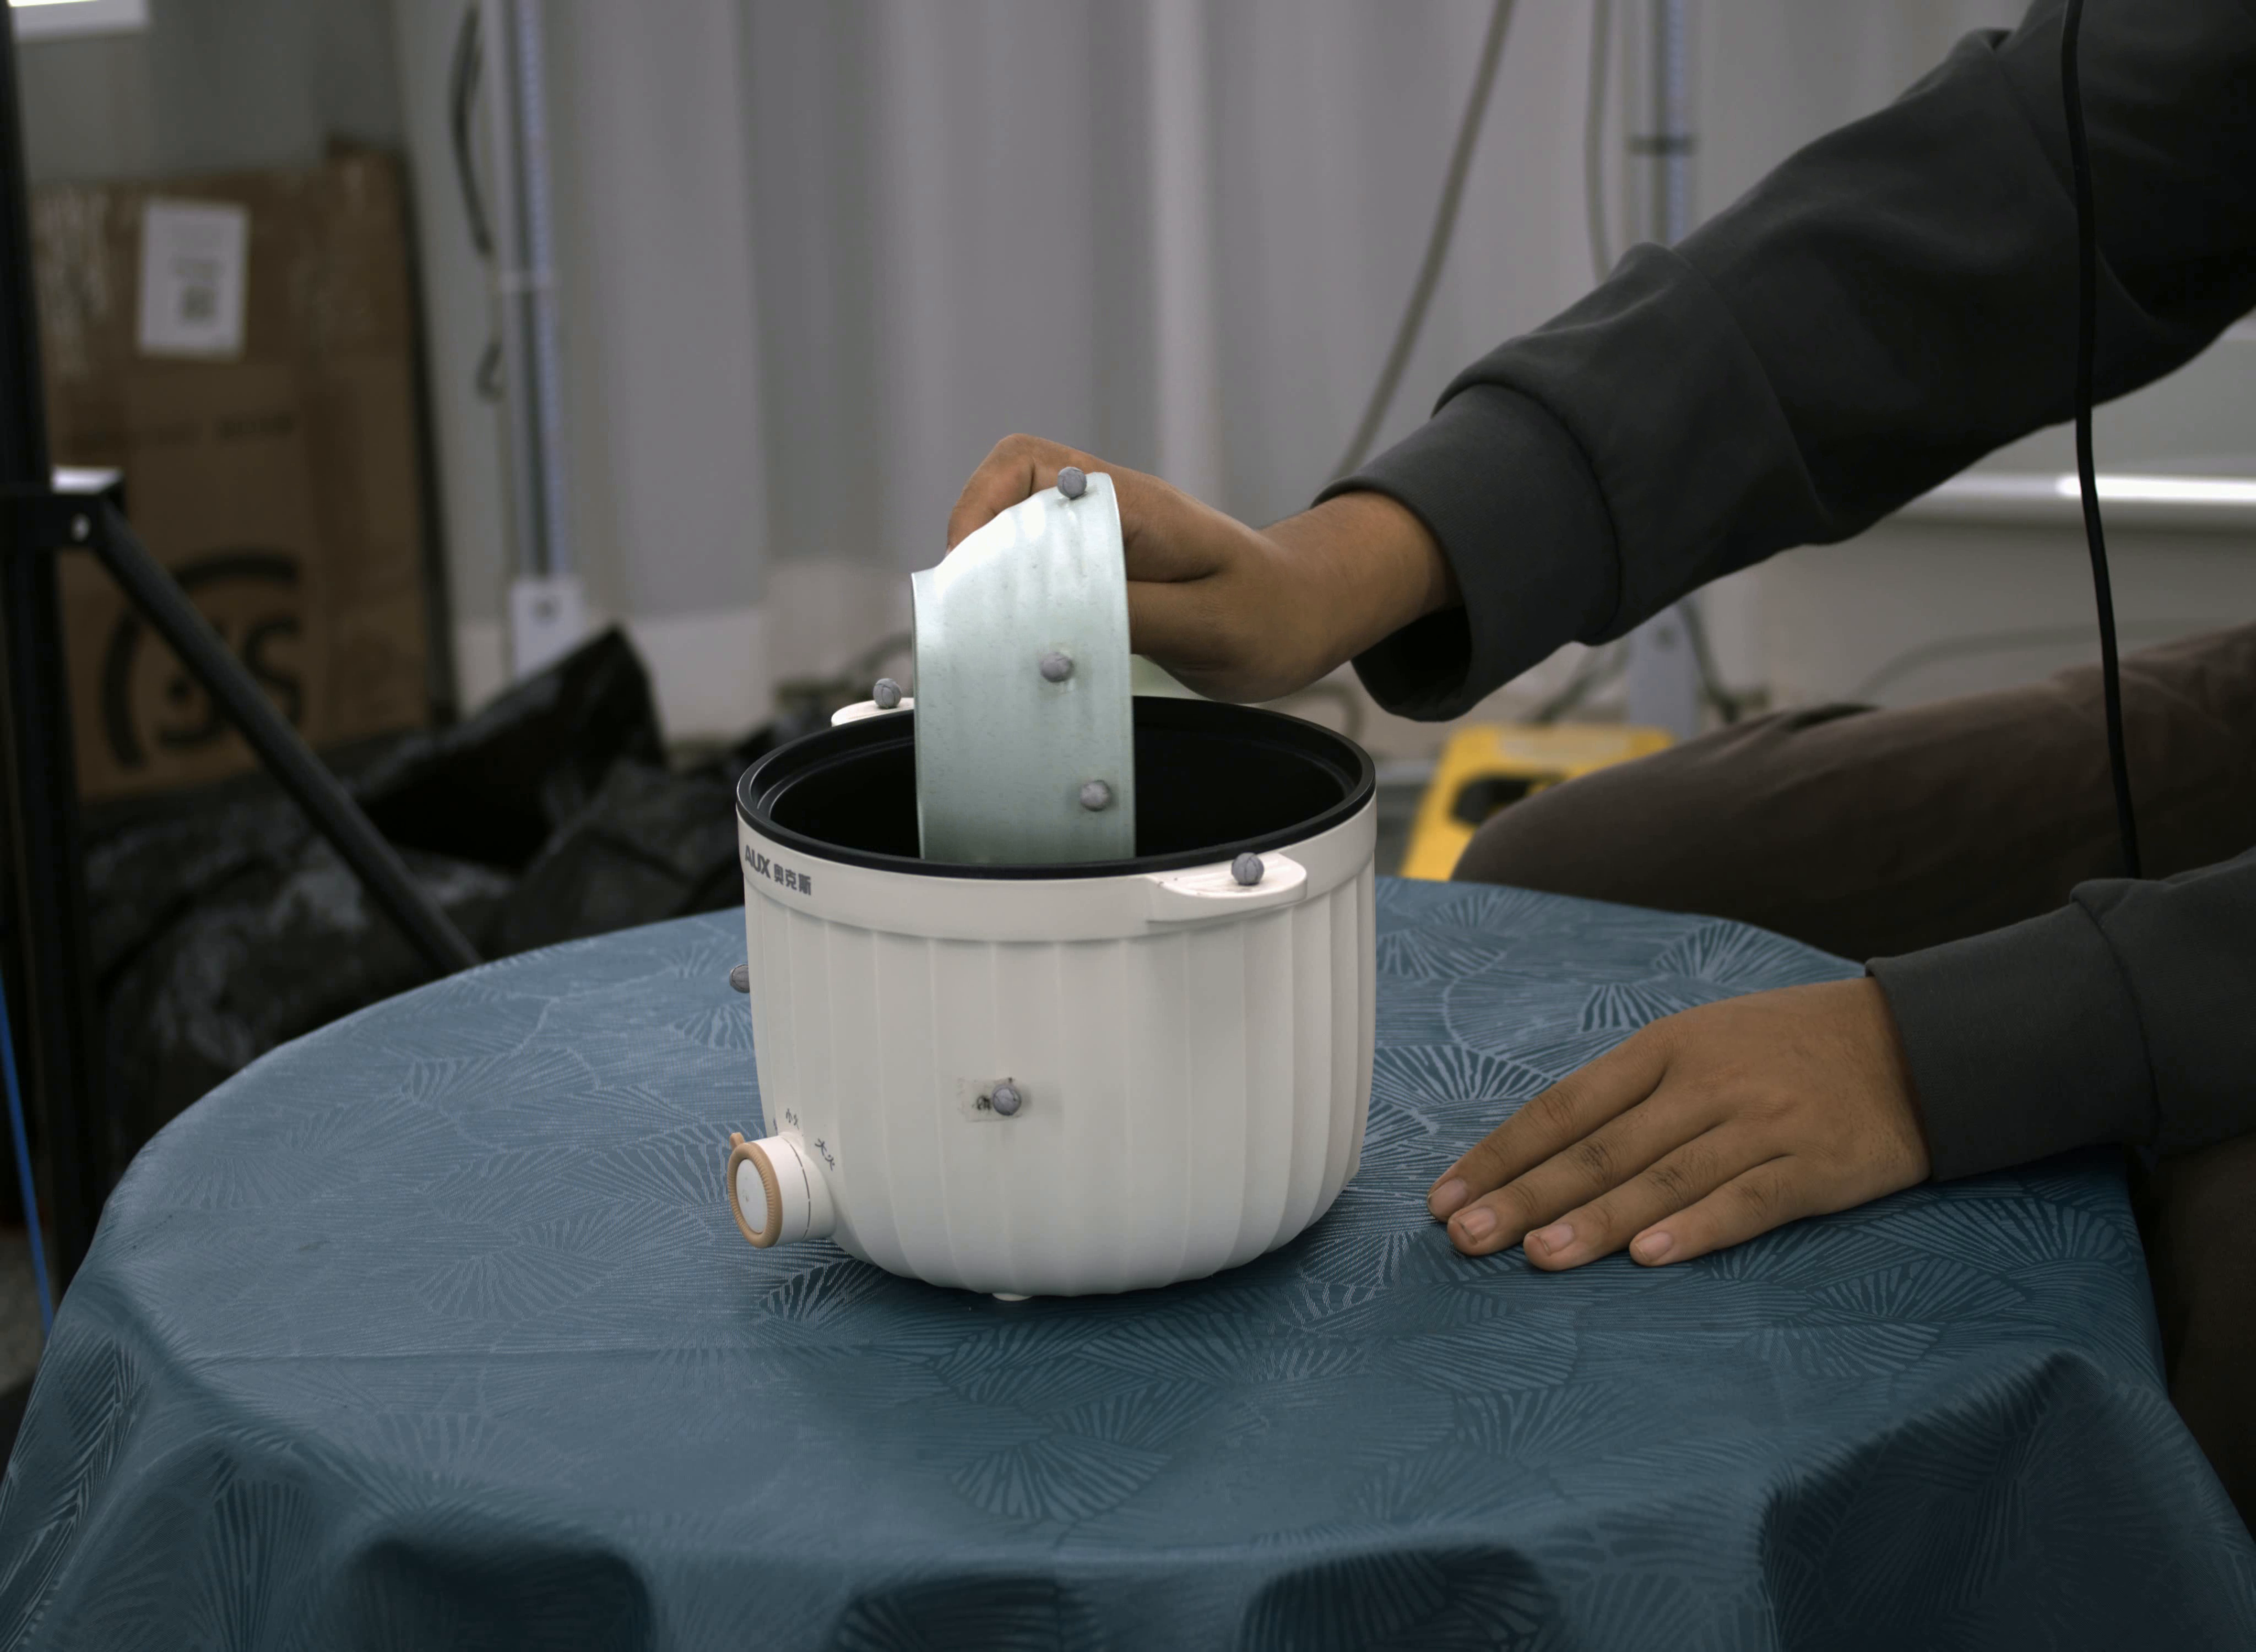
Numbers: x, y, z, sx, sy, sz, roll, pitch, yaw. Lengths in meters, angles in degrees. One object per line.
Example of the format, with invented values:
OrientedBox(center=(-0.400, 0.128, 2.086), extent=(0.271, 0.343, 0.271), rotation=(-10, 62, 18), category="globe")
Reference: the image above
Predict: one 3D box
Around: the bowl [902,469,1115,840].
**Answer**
OrientedBox(center=(-0.034, -0.029, 1.506), extent=(0.058, 0.151, 0.152), rotation=(-1, 16, -2), category="bowl")

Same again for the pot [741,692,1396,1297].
OrientedBox(center=(-0.019, 0.050, 1.509), extent=(0.186, 0.143, 0.245), rotation=(-7, 14, -28), category="pot")
